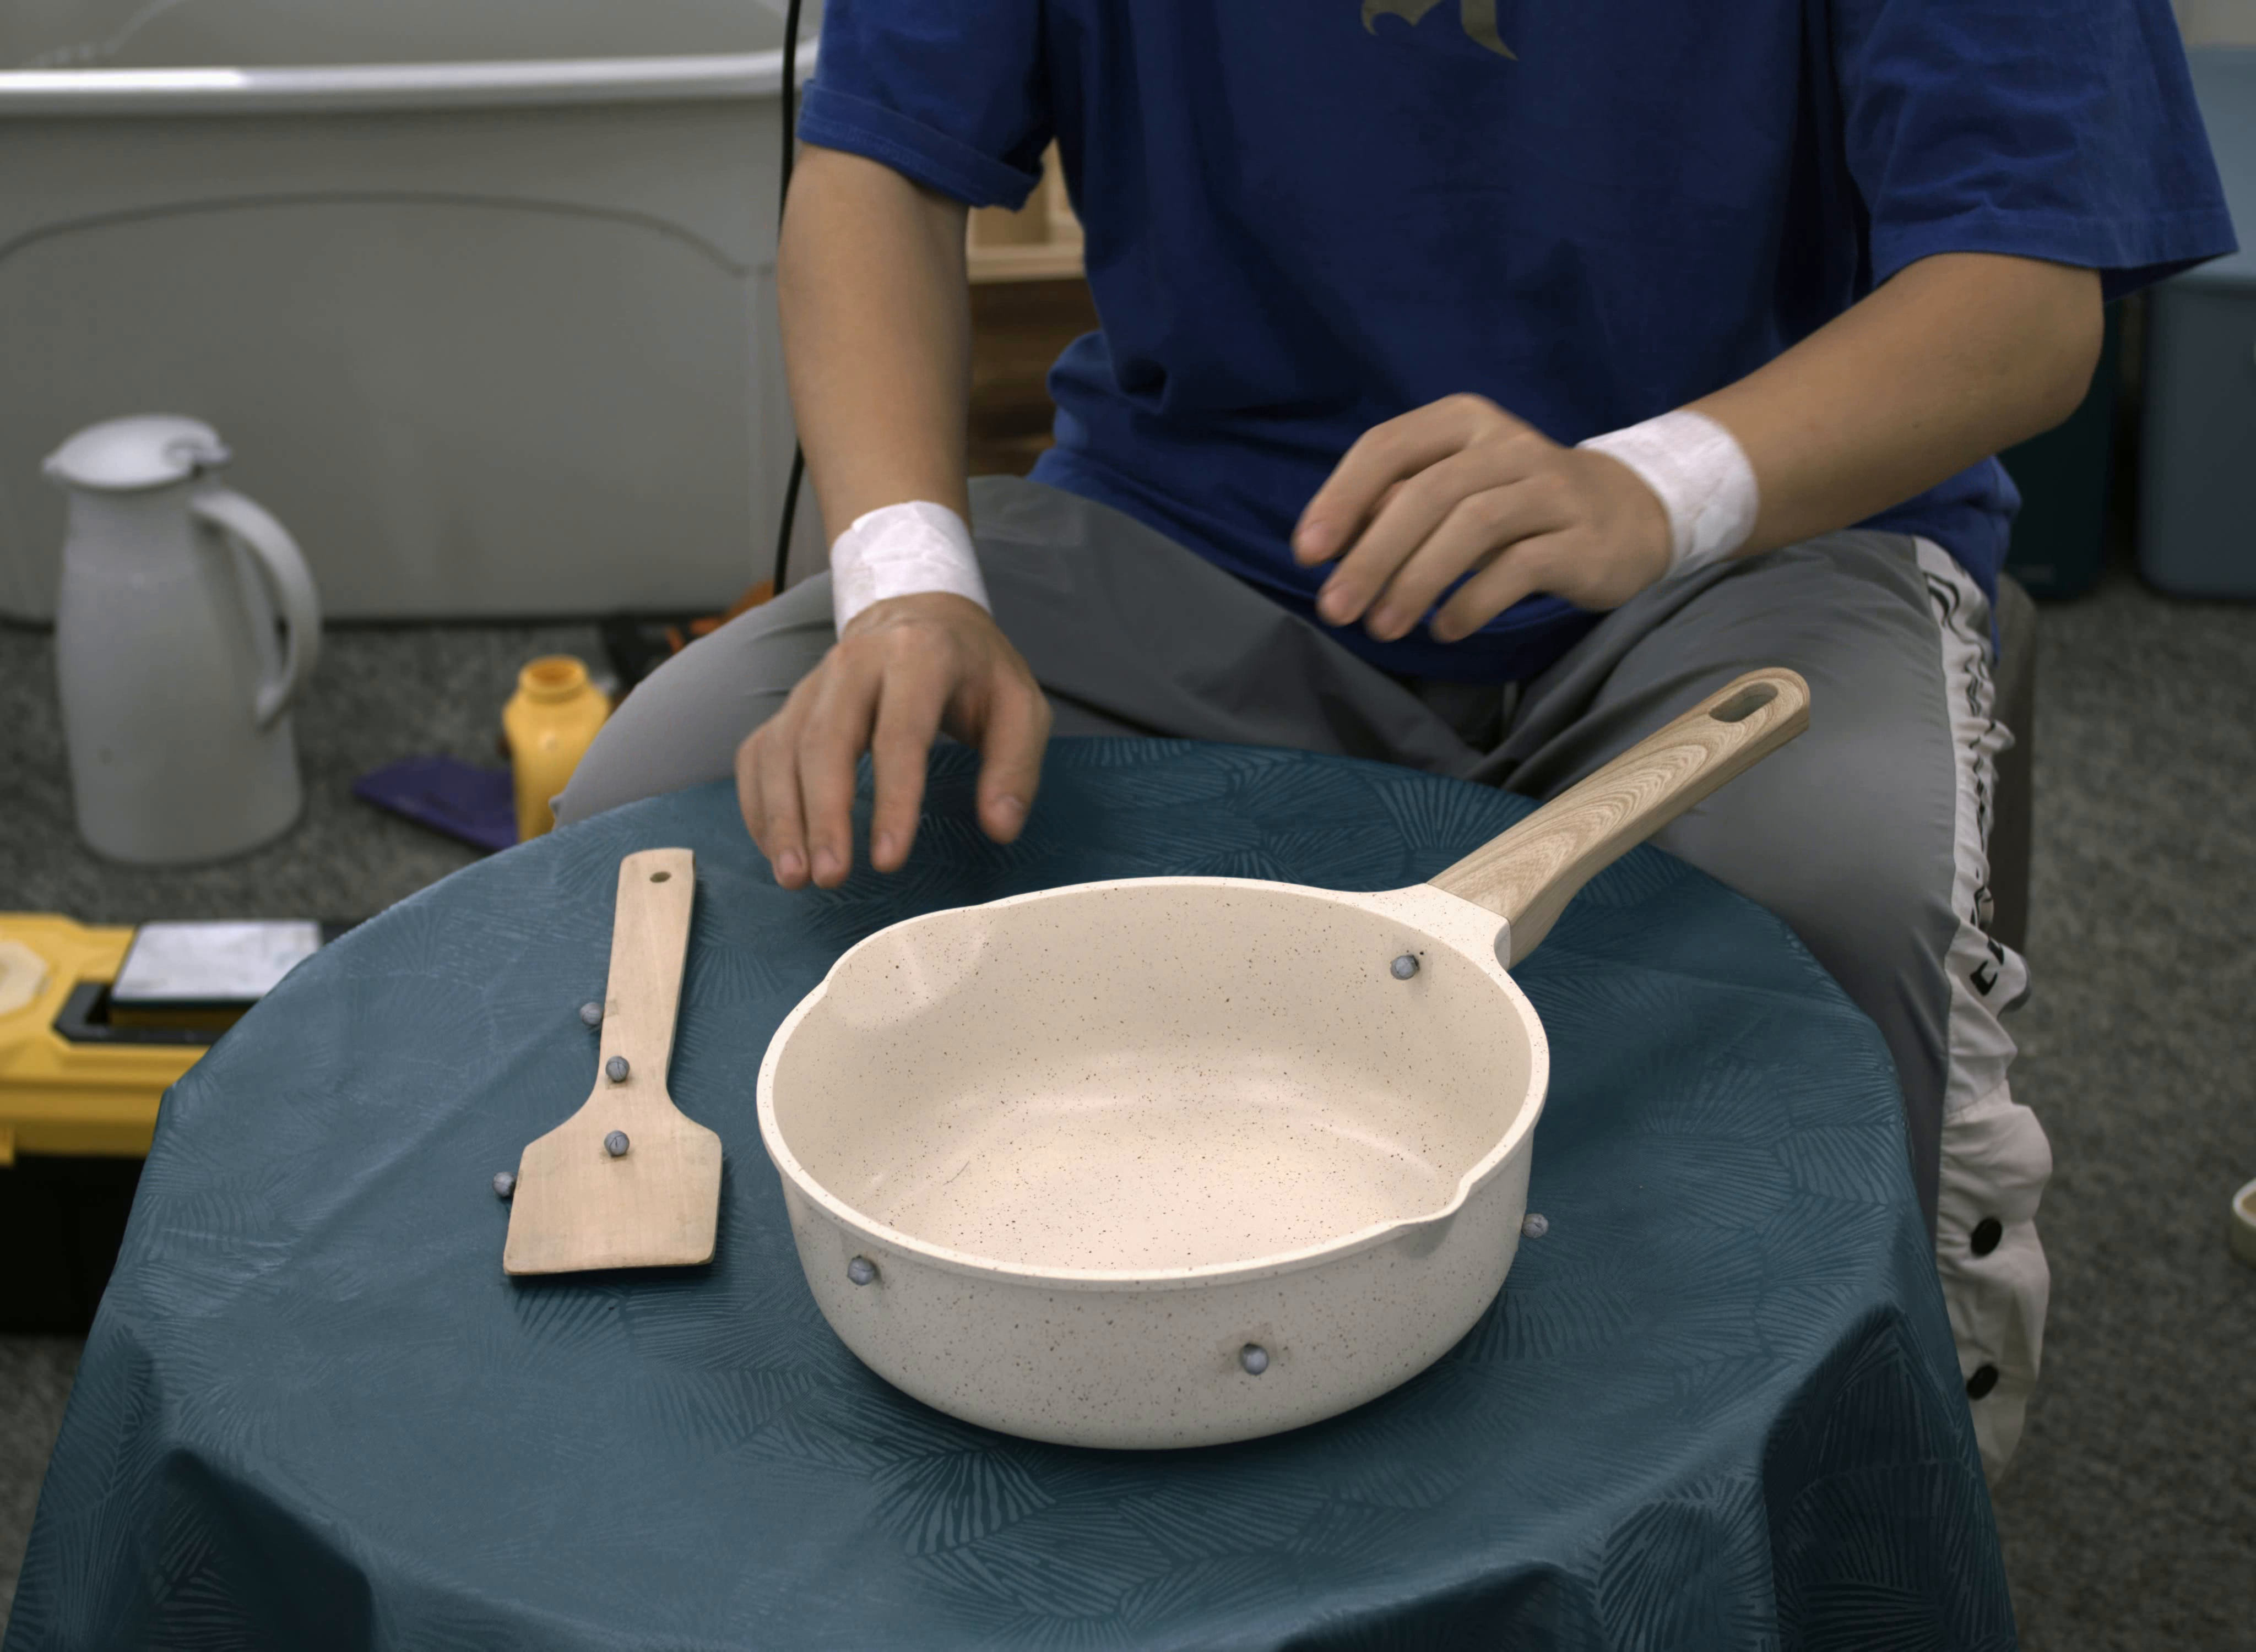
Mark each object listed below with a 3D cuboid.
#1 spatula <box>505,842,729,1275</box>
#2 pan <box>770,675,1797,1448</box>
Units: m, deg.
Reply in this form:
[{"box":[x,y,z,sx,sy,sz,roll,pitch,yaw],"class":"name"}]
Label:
[{"box":[-0.170,0.077,1.953,0.072,0.010,0.297,-4,28,1],"class":"spatula"},{"box":[0.078,0.071,1.842,0.263,0.101,0.440,21,35,41],"class":"pan"}]
